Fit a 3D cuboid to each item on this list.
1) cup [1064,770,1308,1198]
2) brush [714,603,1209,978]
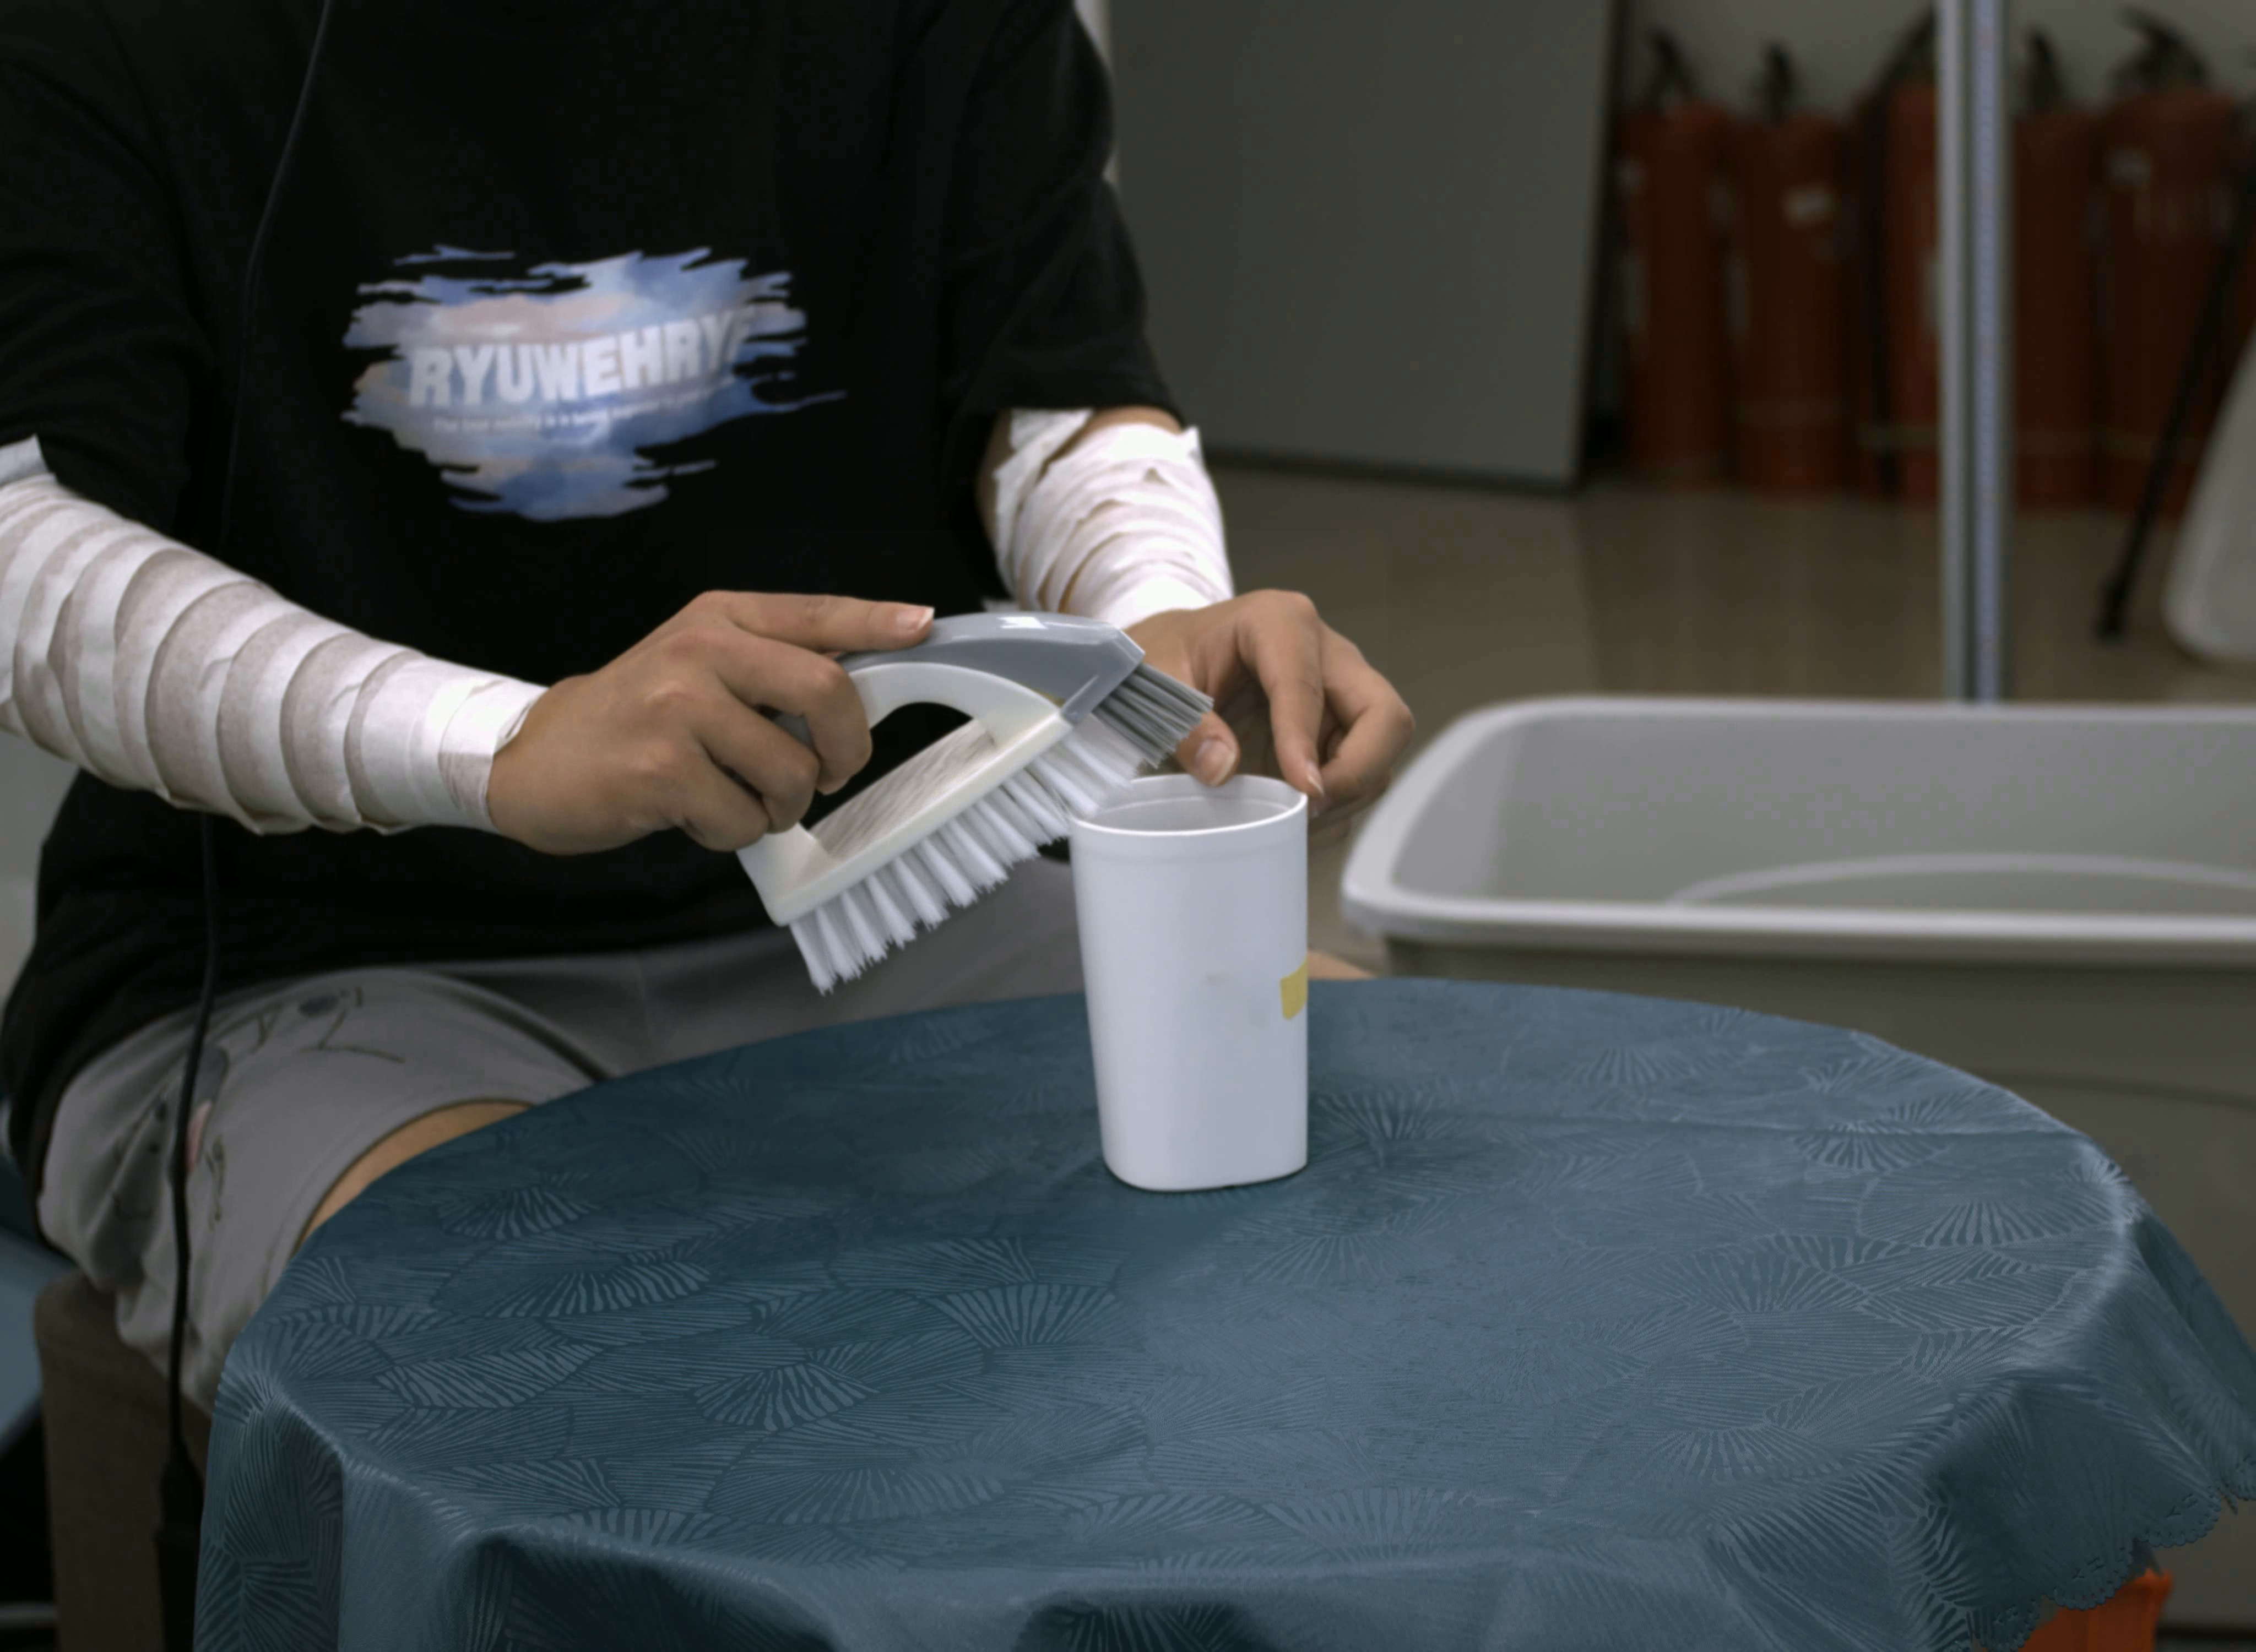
[{"bbox_3d":[0.023,0.052,1.785,0.080,0.127,0.082,-4,14,0],"label":"cup"},{"bbox_3d":[-0.063,-0.029,1.788,0.176,0.093,0.061,-31,21,29],"label":"brush"}]
